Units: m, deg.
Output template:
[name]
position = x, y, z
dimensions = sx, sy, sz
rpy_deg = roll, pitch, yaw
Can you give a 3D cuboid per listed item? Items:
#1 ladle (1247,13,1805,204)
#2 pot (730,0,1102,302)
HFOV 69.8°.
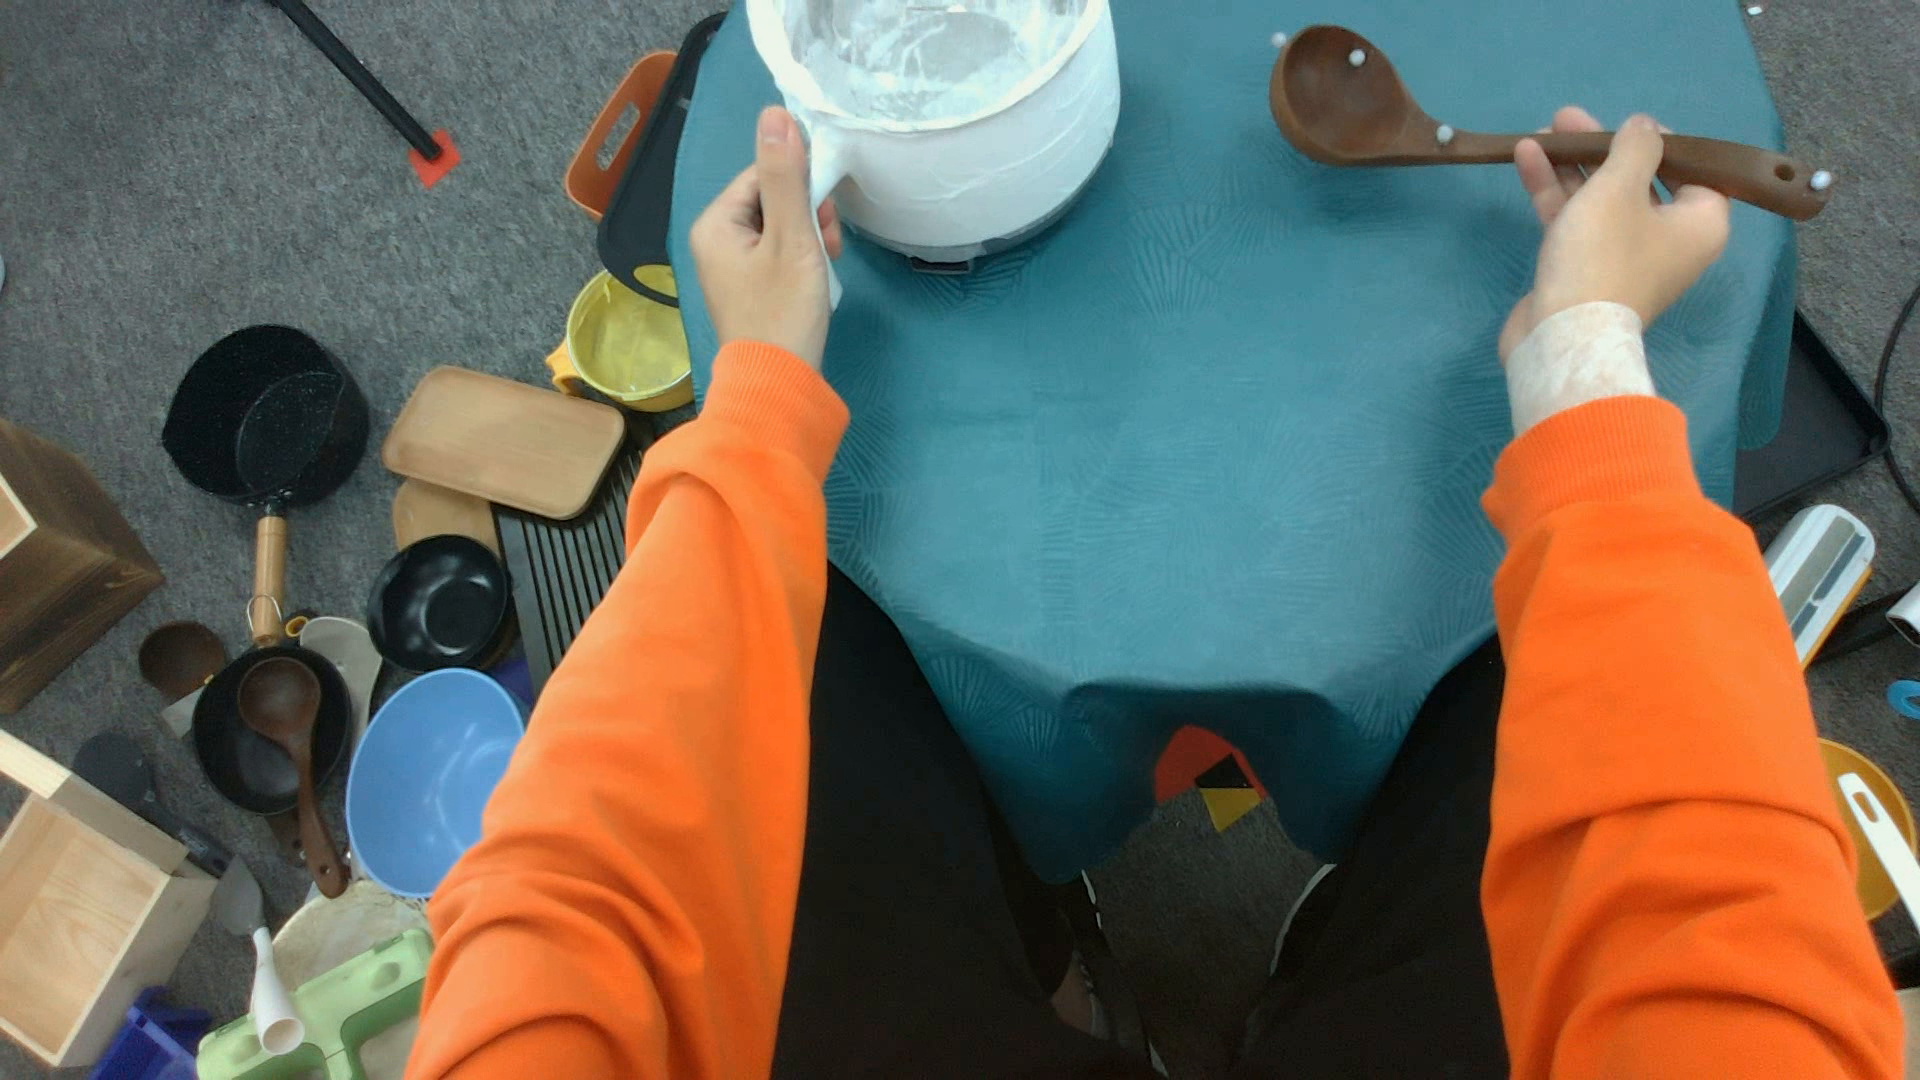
[ladle]
position = 0.265, -0.207, 0.664
dimensions = 0.260, 0.065, 0.077
rpy_deg = 18, 71, 29
[pot]
position = -0.032, -0.234, 0.710
dimensions = 0.179, 0.136, 0.234
rpy_deg = 32, 78, 18
